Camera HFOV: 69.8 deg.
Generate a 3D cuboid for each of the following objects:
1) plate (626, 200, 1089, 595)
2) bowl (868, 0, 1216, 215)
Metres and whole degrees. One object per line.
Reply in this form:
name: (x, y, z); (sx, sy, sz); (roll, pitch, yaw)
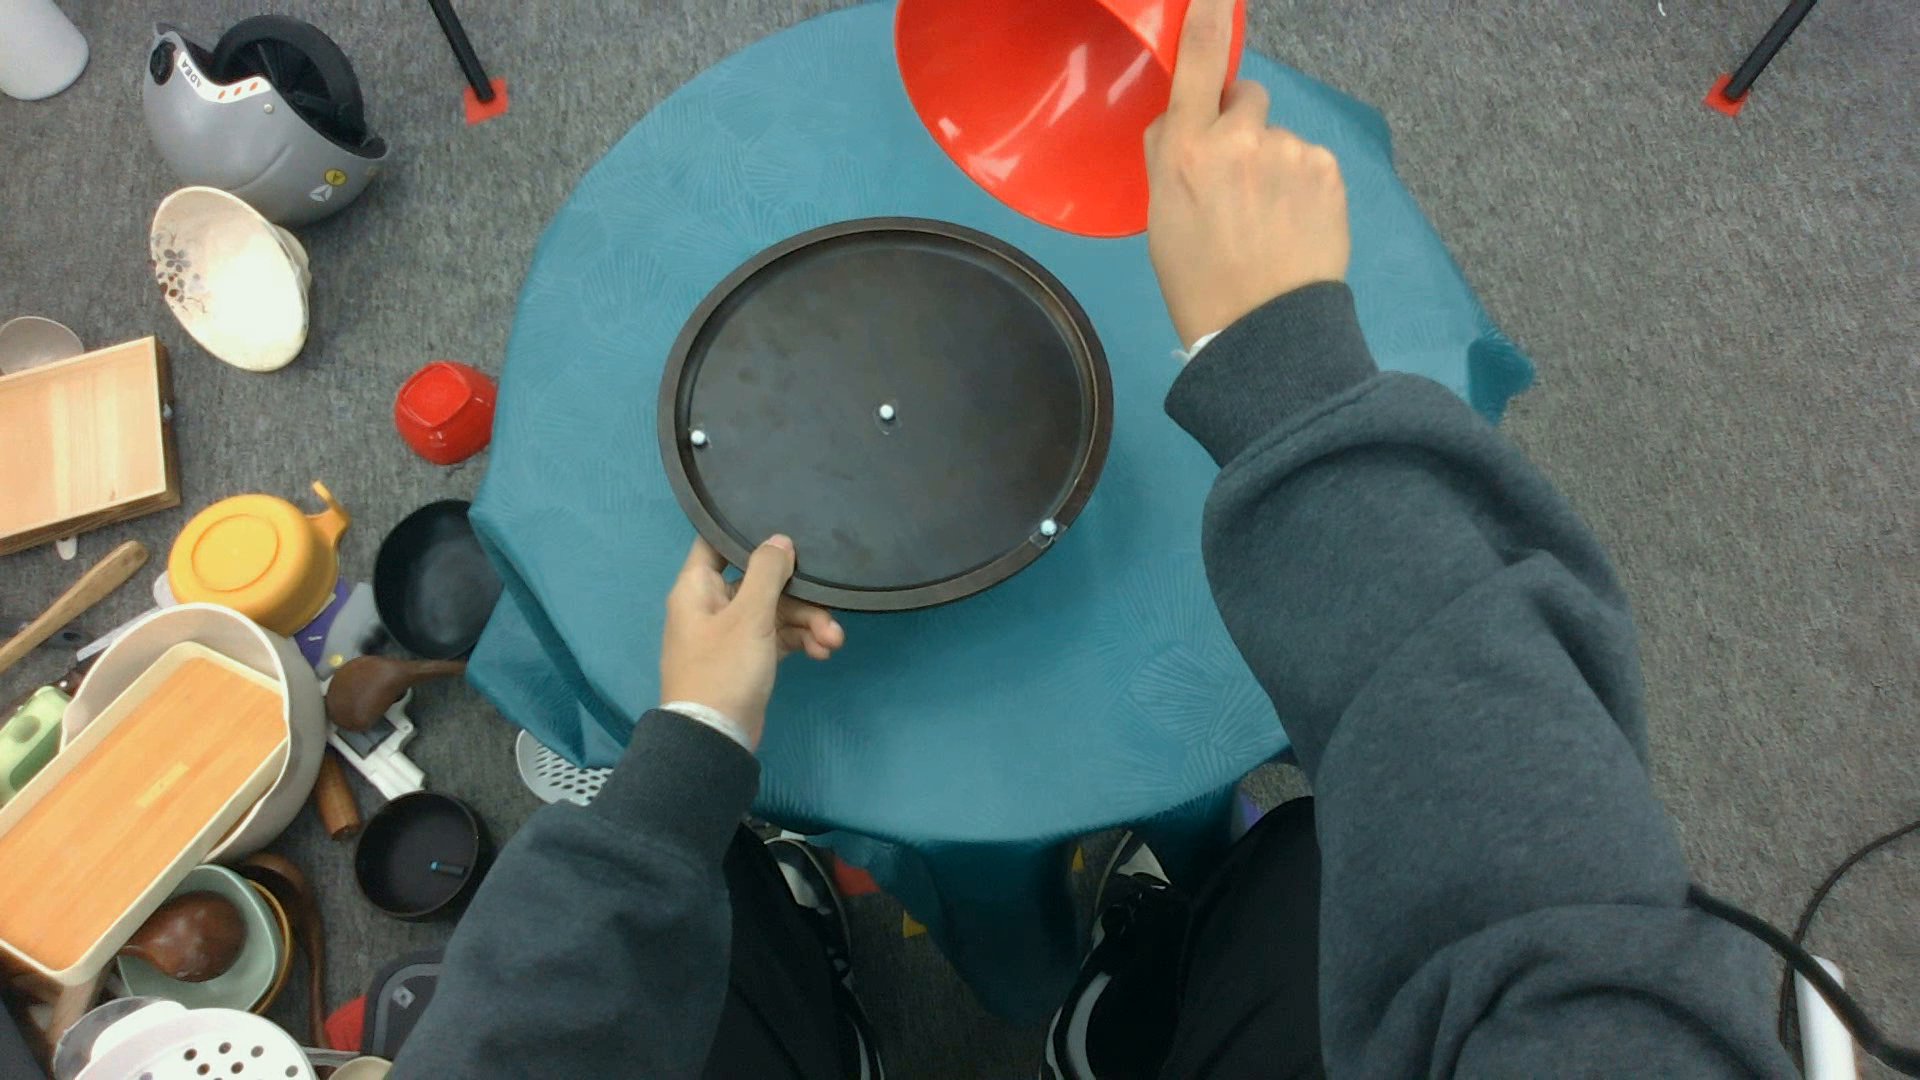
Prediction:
plate: (-0.056, -0.084, 0.763); (0.255, 0.029, 0.255); (1, 65, -1)
bowl: (0.047, -0.226, 0.601); (0.148, 0.147, 0.105); (37, 75, 16)
